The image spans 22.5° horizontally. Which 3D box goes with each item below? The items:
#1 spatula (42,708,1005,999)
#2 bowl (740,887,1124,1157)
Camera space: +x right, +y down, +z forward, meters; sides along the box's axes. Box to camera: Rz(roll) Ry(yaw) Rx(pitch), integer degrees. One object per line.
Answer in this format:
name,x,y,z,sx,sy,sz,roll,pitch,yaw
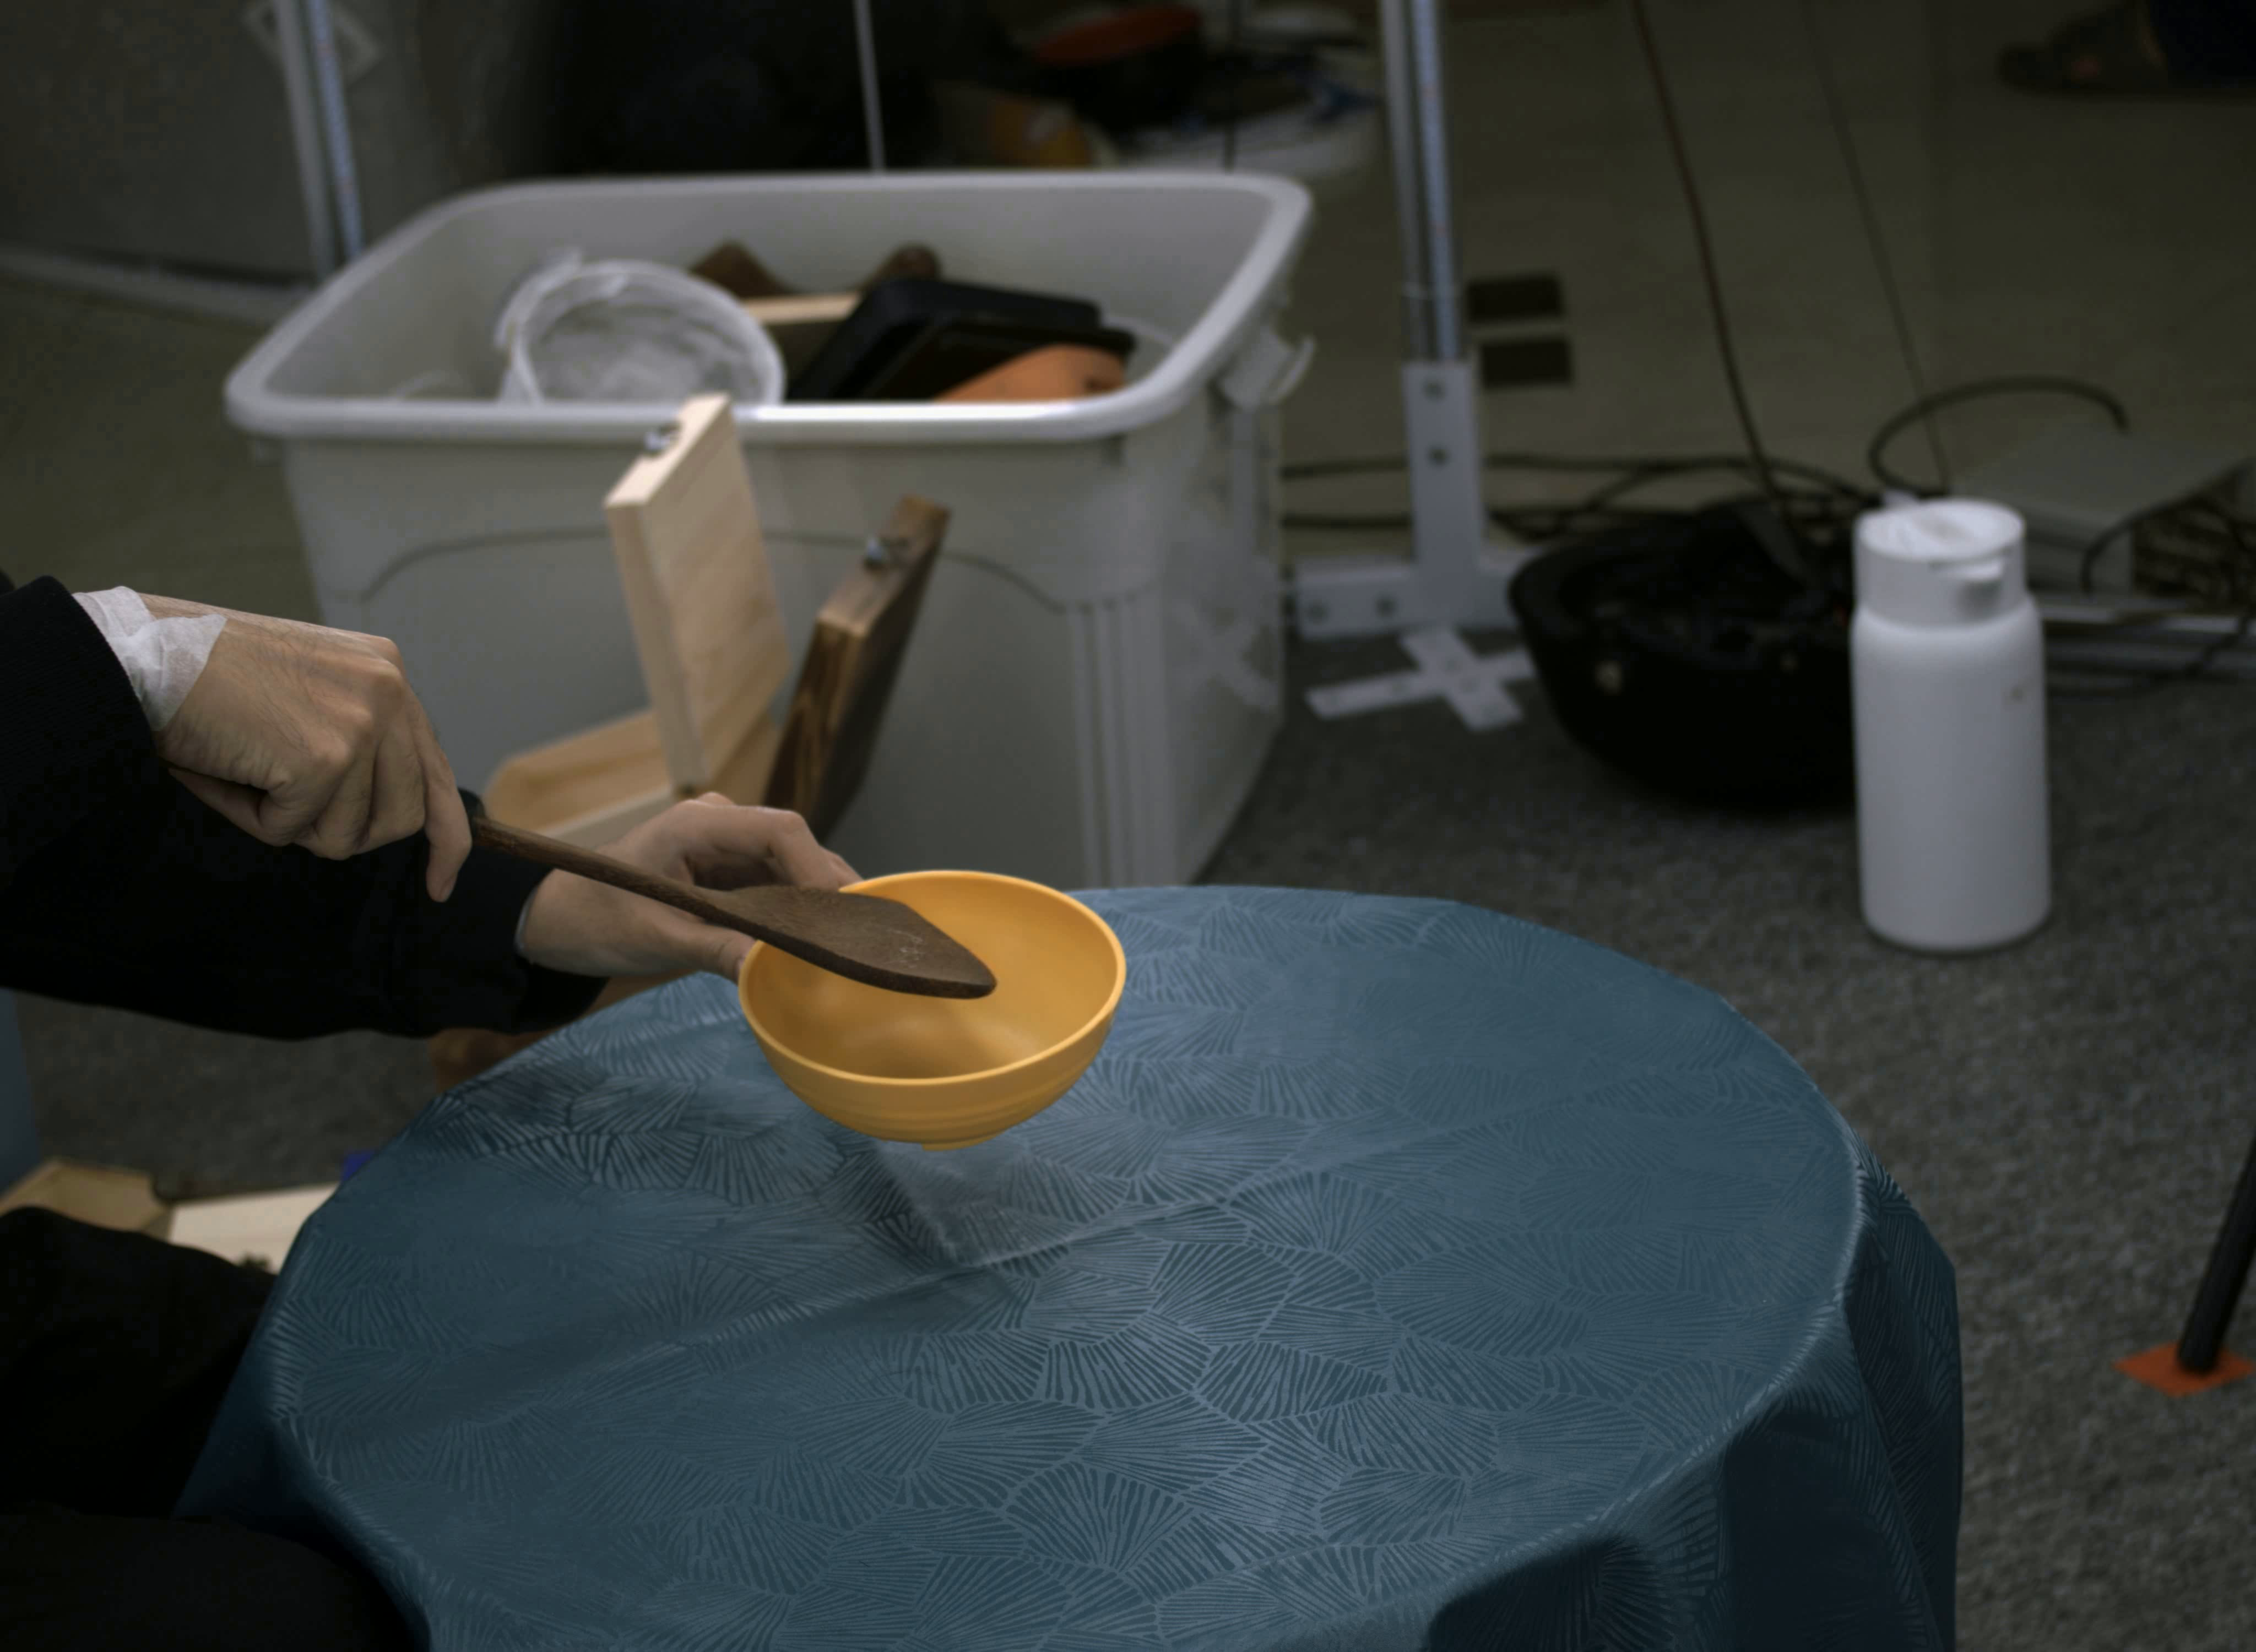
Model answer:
spatula,-0.211,0.008,2.016,0.388,0.016,0.095,17,12,-35
bowl,-0.072,0.083,2.126,0.145,0.061,0.143,-2,30,1
